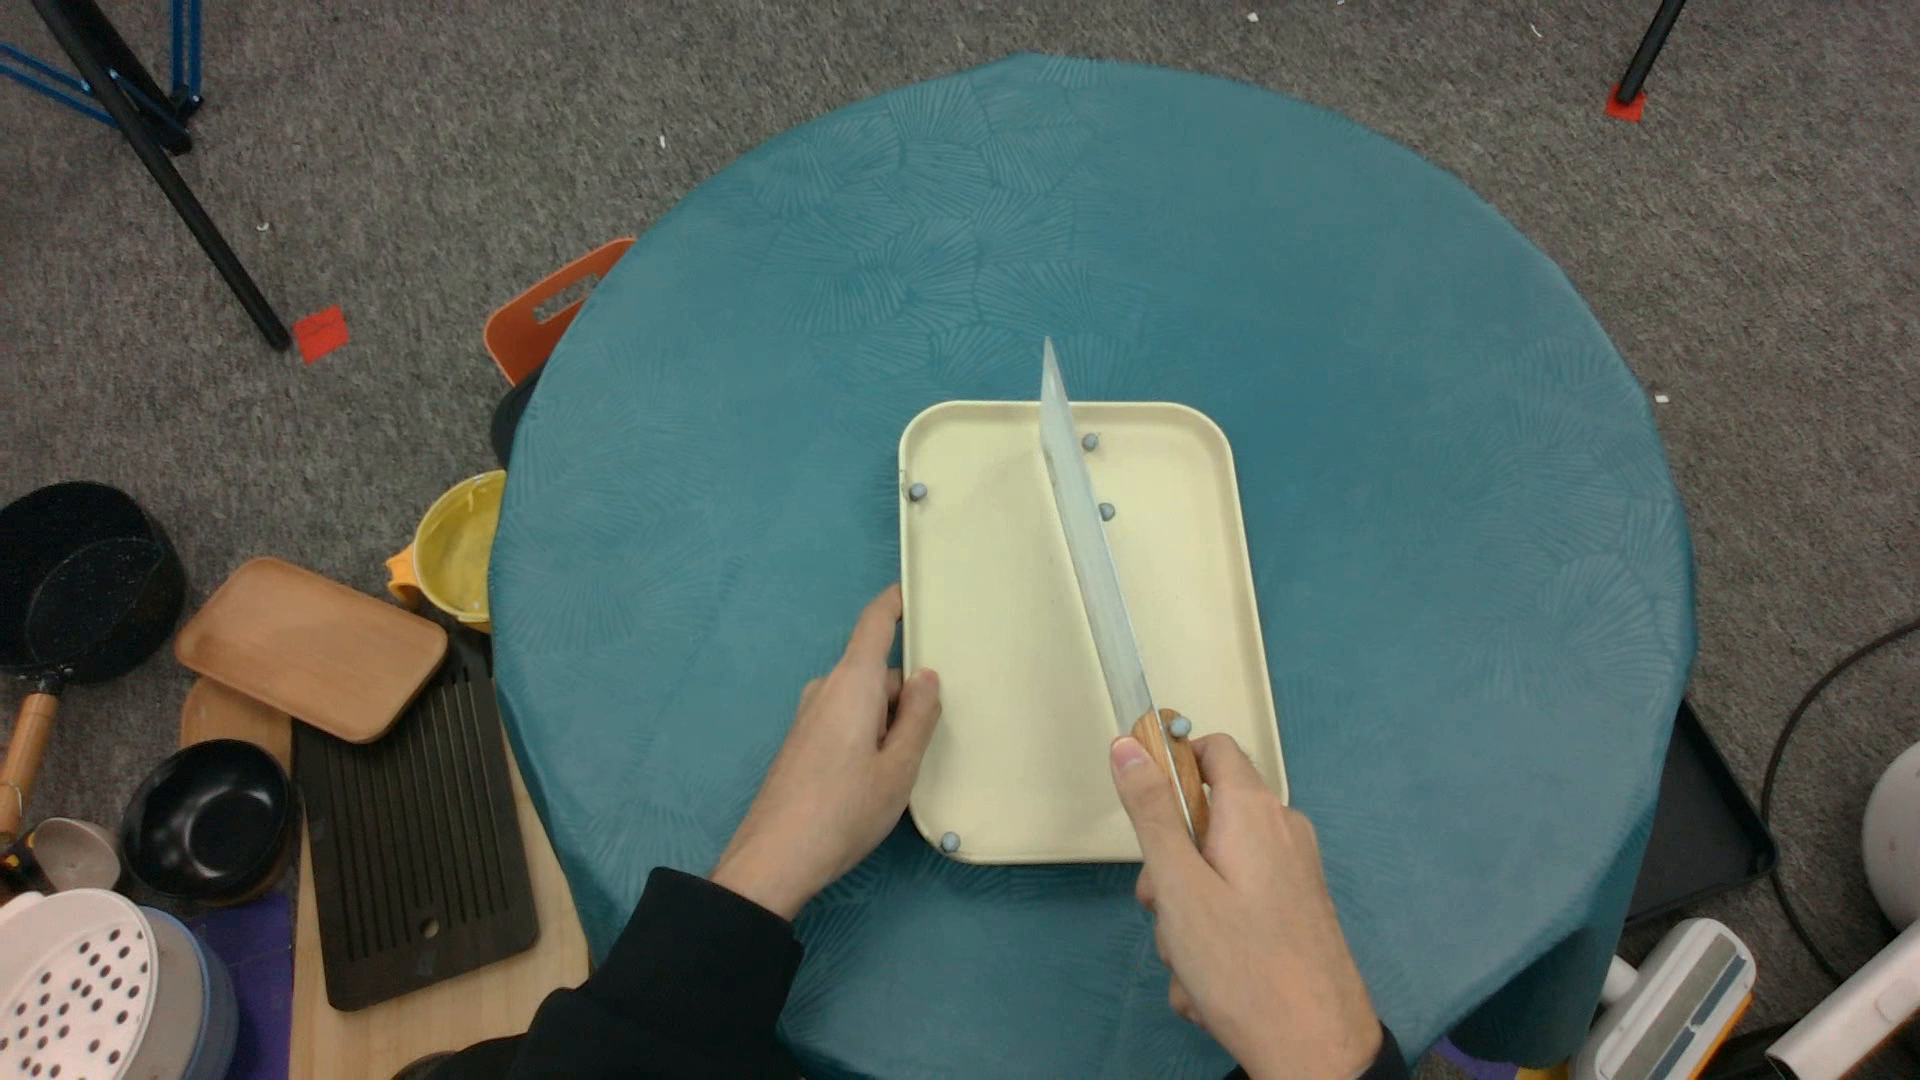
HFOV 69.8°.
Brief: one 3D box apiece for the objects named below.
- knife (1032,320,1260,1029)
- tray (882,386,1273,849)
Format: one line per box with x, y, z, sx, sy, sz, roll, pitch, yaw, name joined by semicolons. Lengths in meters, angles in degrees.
0.067;0.051;0.582;0.021;0.092;0.306;-10;65;-5;knife
0.050;0.029;0.652;0.171;0.017;0.240;1;60;-7;tray
